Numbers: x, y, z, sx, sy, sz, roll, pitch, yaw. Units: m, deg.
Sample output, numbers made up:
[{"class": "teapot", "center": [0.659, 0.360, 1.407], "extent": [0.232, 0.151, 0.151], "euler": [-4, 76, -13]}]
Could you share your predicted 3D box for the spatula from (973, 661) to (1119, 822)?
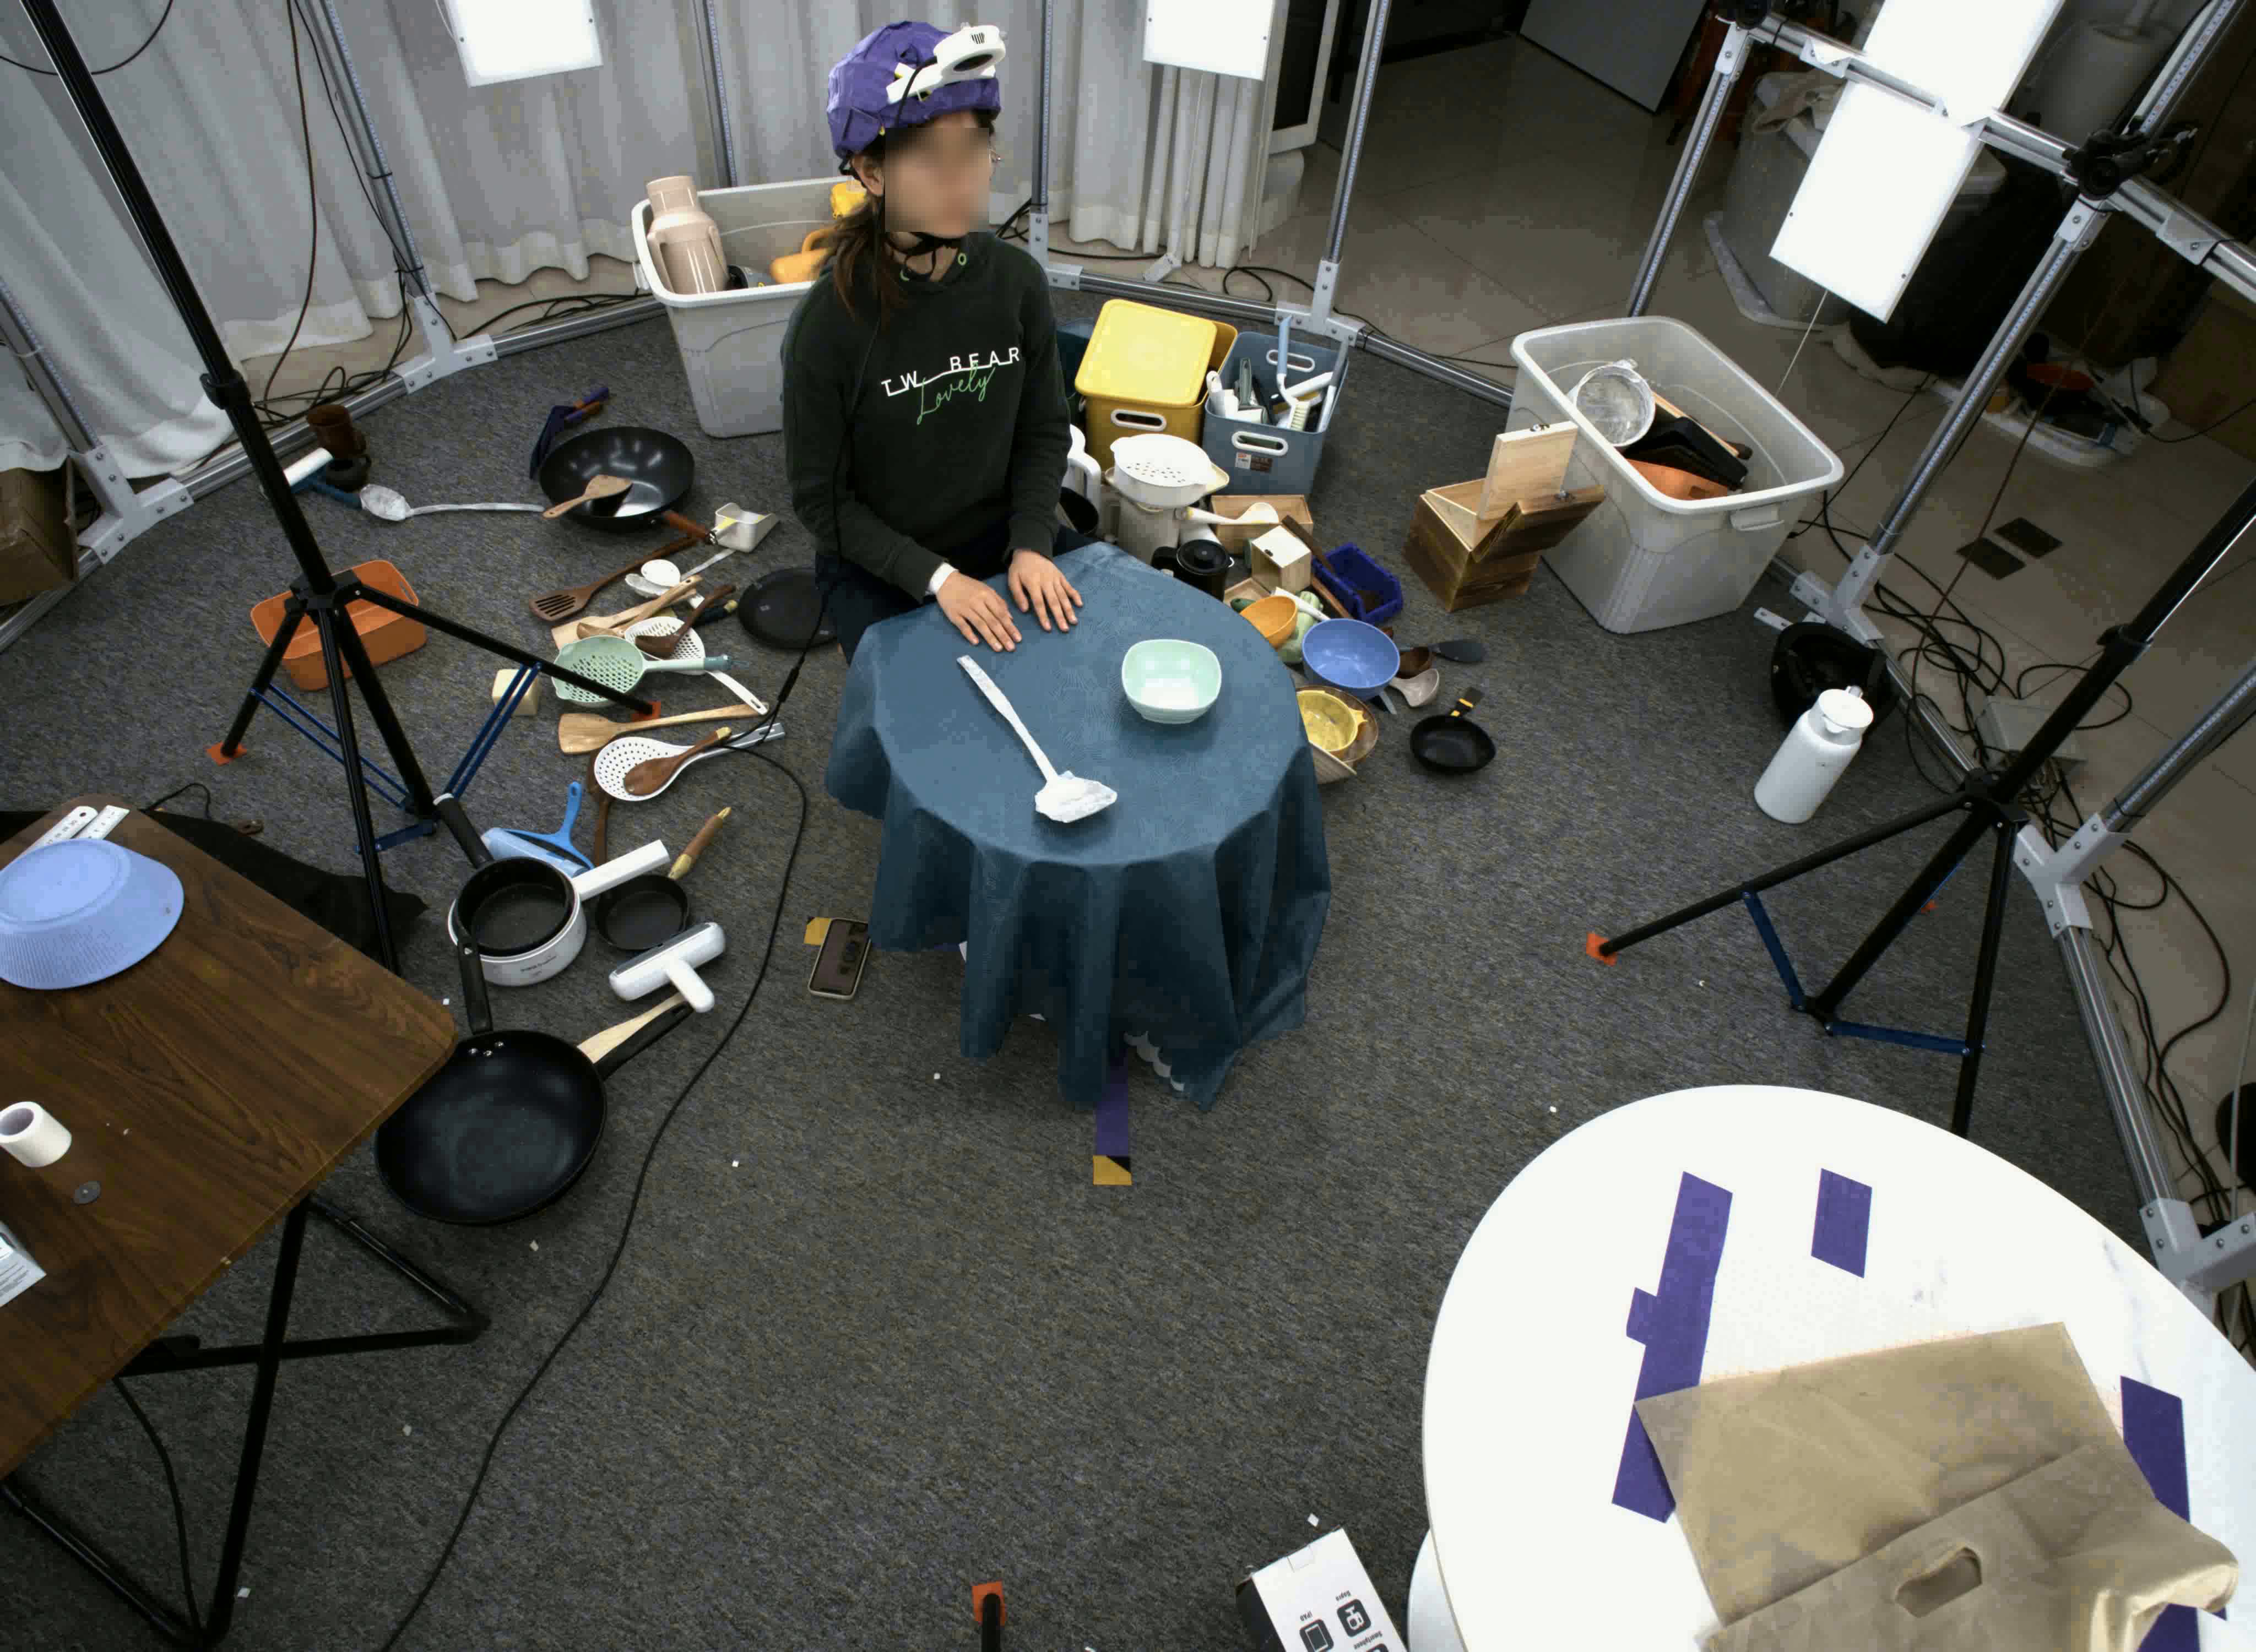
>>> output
[{"class": "spatula", "center": [-0.136, -0.127, 1.760], "extent": [0.099, 0.043, 0.373], "euler": [-22, 54, -19]}]

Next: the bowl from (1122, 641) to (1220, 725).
[{"class": "bowl", "center": [0.059, -0.194, 1.821], "extent": [0.151, 0.057, 0.155], "euler": [3, 50, -4]}]
